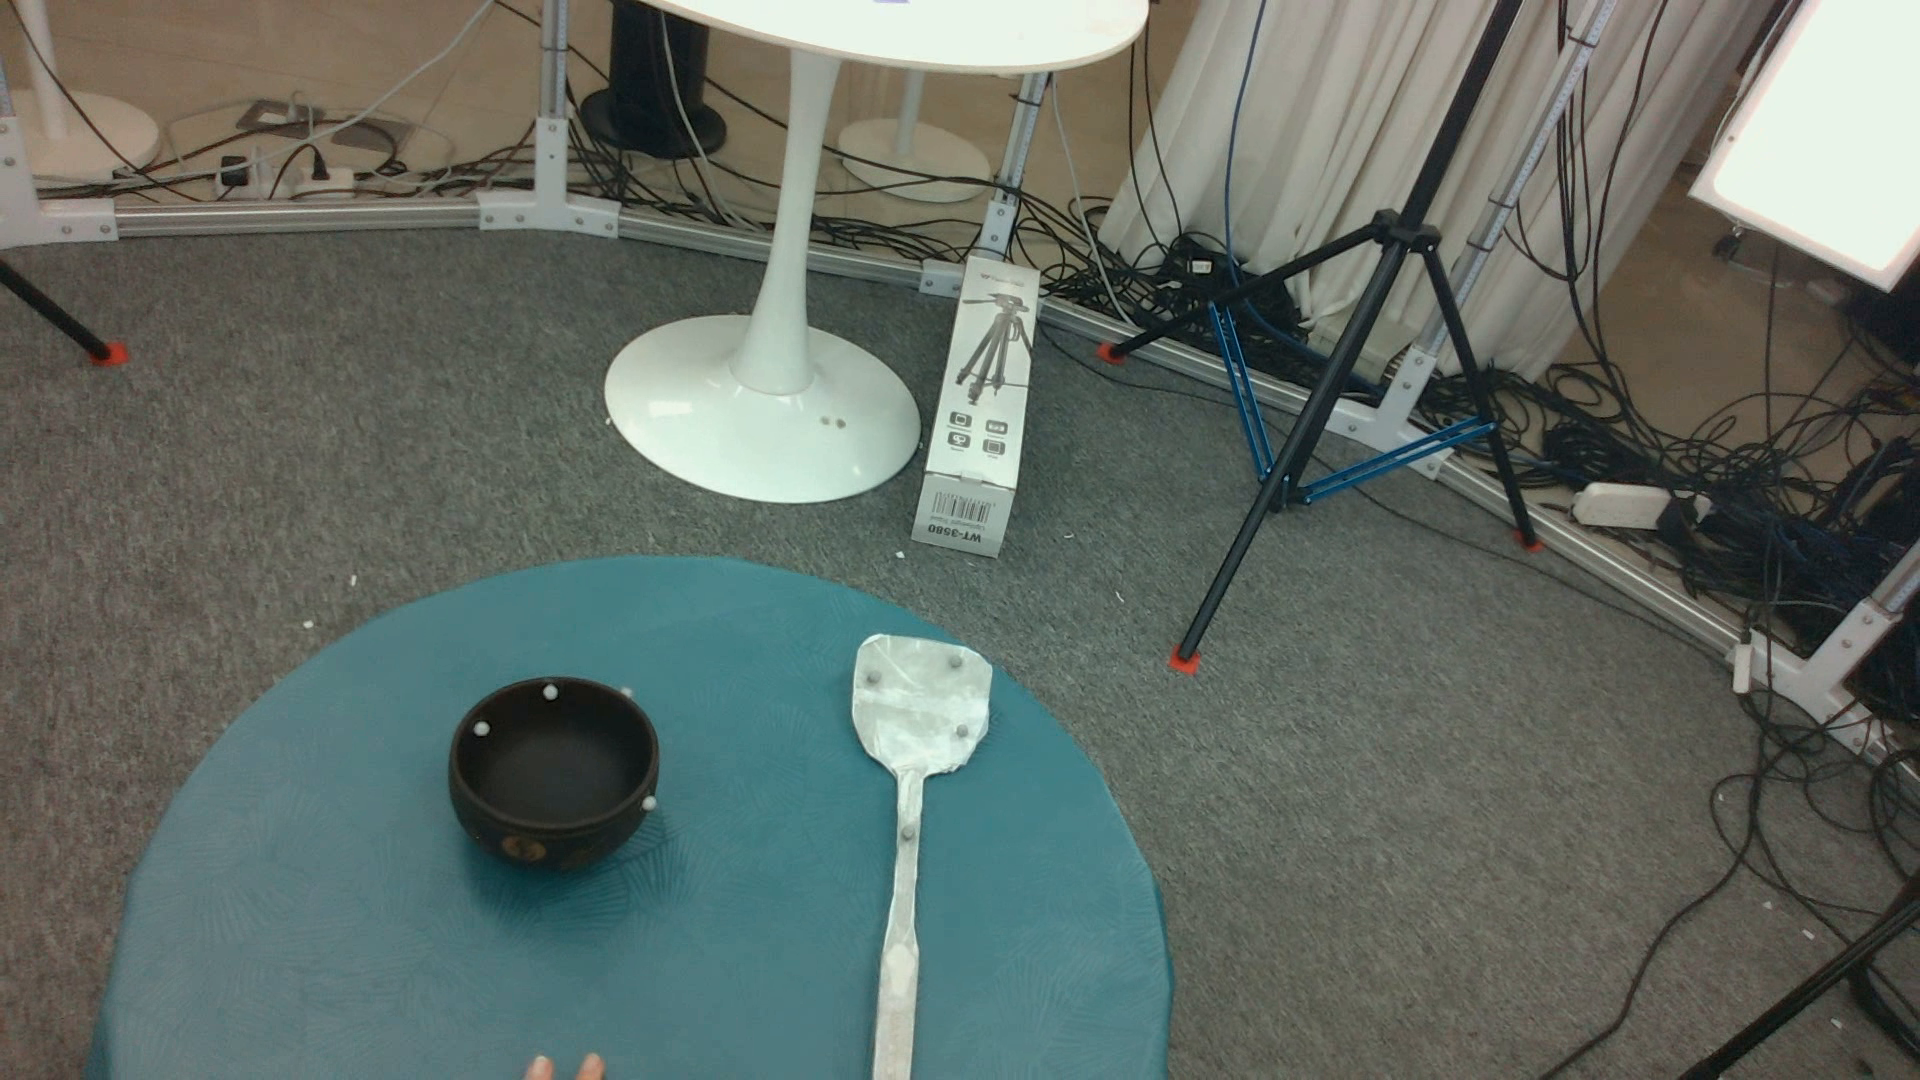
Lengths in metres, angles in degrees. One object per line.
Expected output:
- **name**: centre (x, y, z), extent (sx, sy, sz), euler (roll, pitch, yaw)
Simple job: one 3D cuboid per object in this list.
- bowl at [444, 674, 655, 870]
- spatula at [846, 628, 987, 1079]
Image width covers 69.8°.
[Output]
- **bowl**: centre (-0.242, 0.144, 0.813), extent (0.118, 0.069, 0.118), euler (9, 40, -7)
- **spatula**: centre (-0.038, 0.197, 0.850), extent (0.099, 0.044, 0.366), euler (13, 38, -7)
